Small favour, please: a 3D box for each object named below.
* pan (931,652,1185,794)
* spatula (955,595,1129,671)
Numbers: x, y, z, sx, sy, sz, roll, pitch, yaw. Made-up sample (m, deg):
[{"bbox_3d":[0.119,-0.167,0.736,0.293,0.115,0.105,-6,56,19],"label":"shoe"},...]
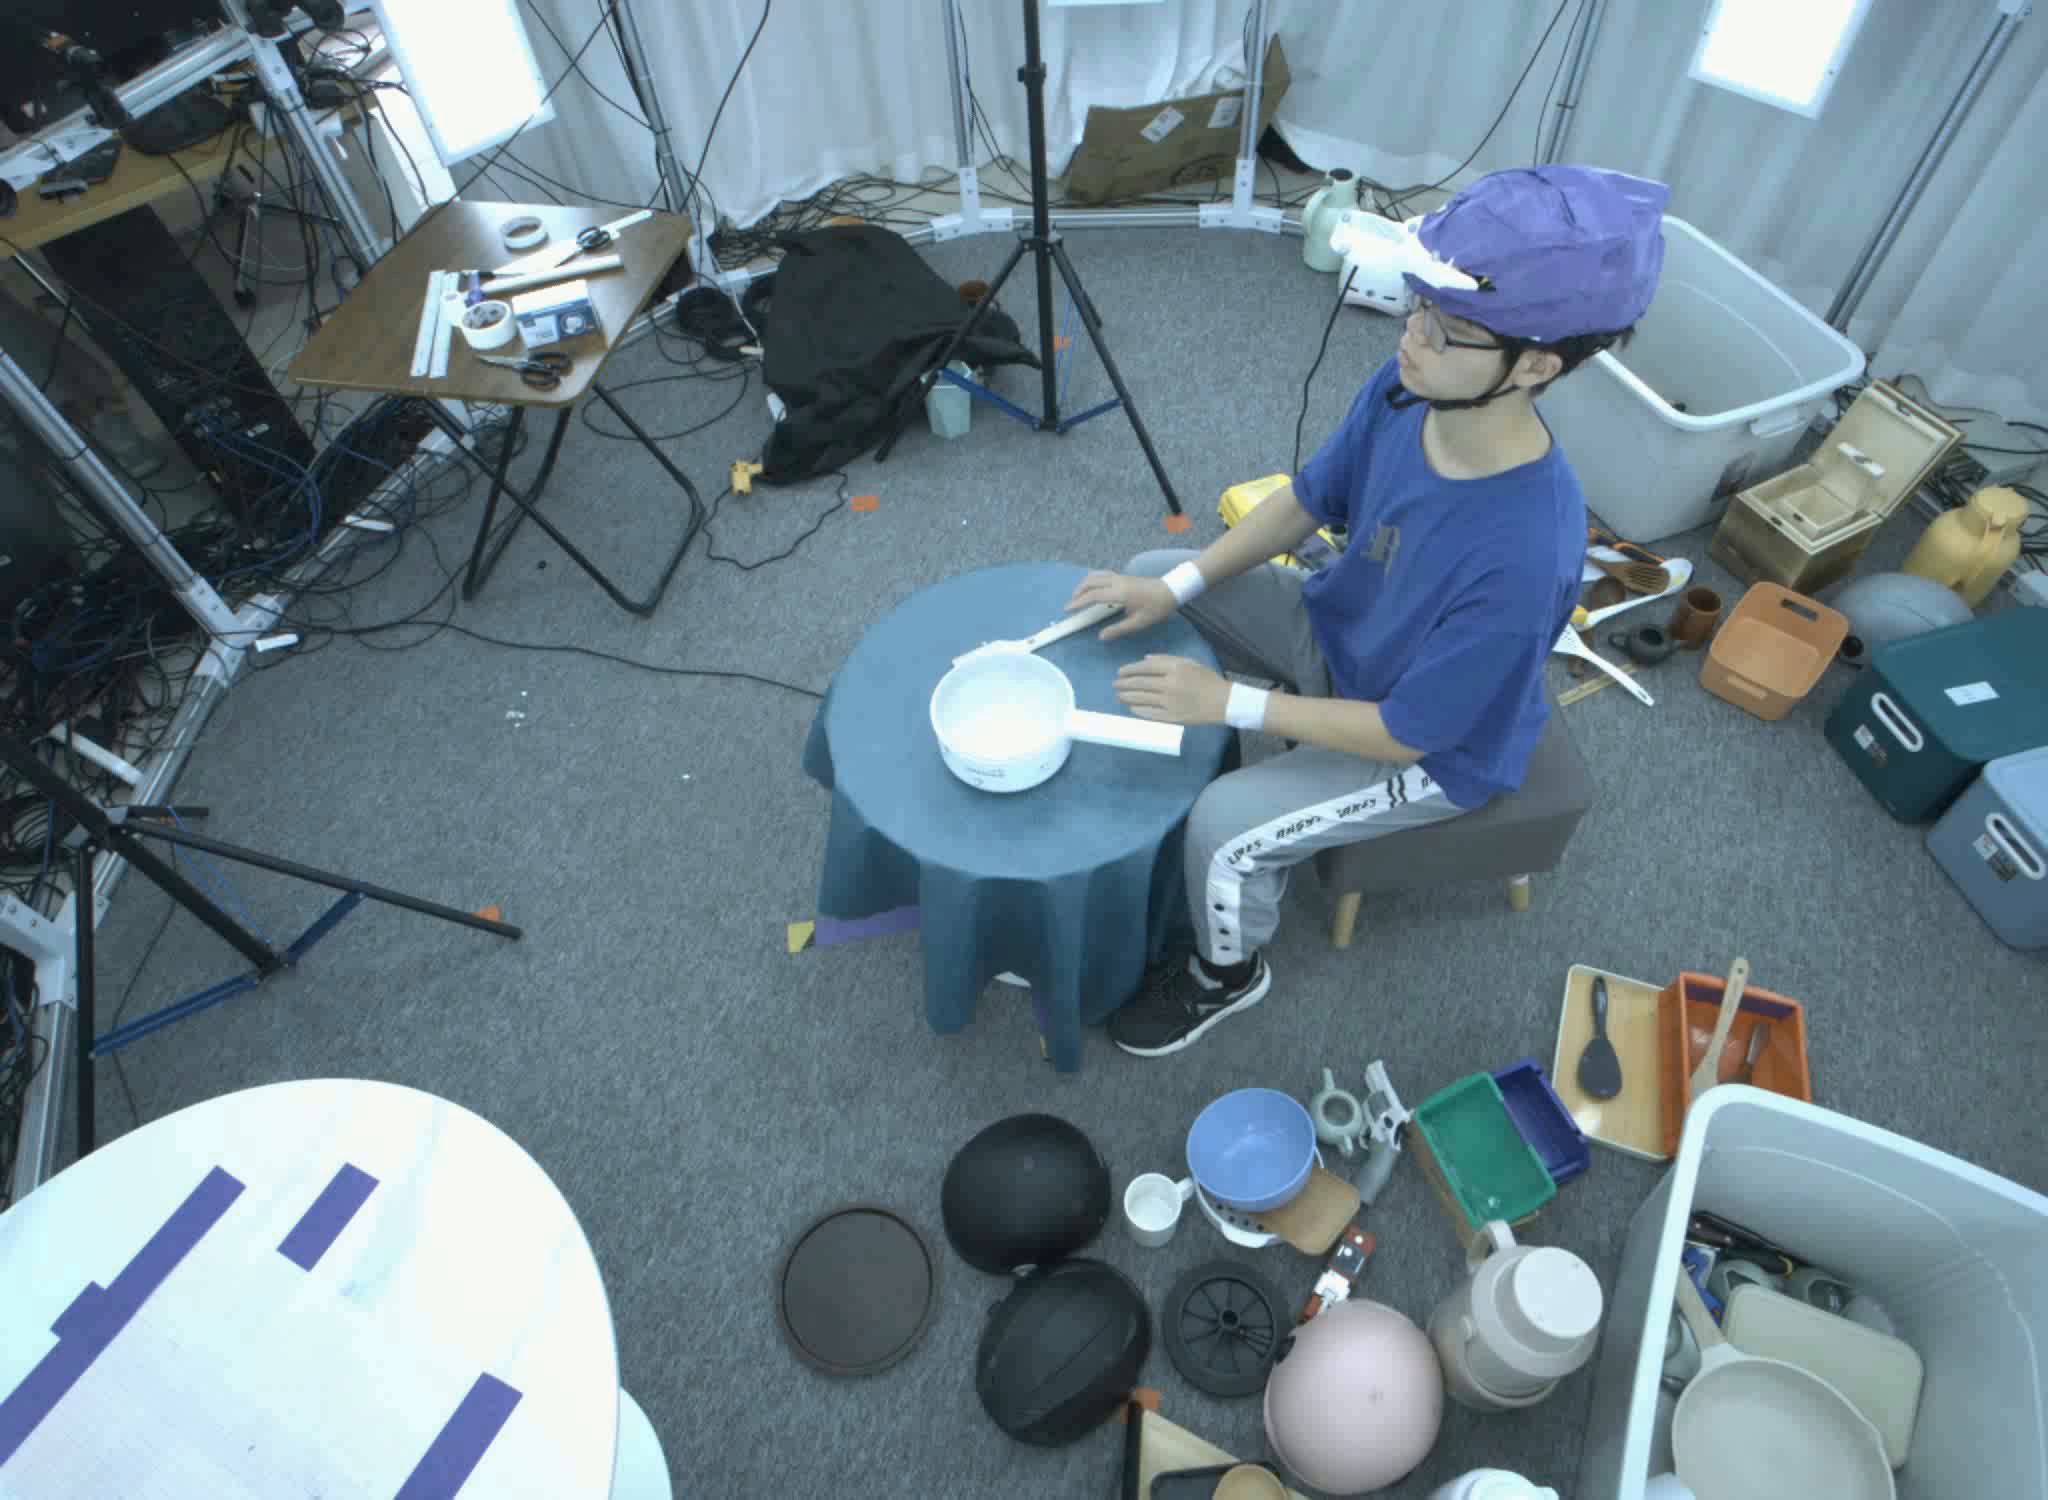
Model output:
[{"bbox_3d":[0.047,-0.021,1.731,0.352,0.103,0.200,9,53,9],"label":"pan"},{"bbox_3d":[0.034,-0.175,1.896,0.295,0.011,0.071,-26,56,-16],"label":"spatula"}]
